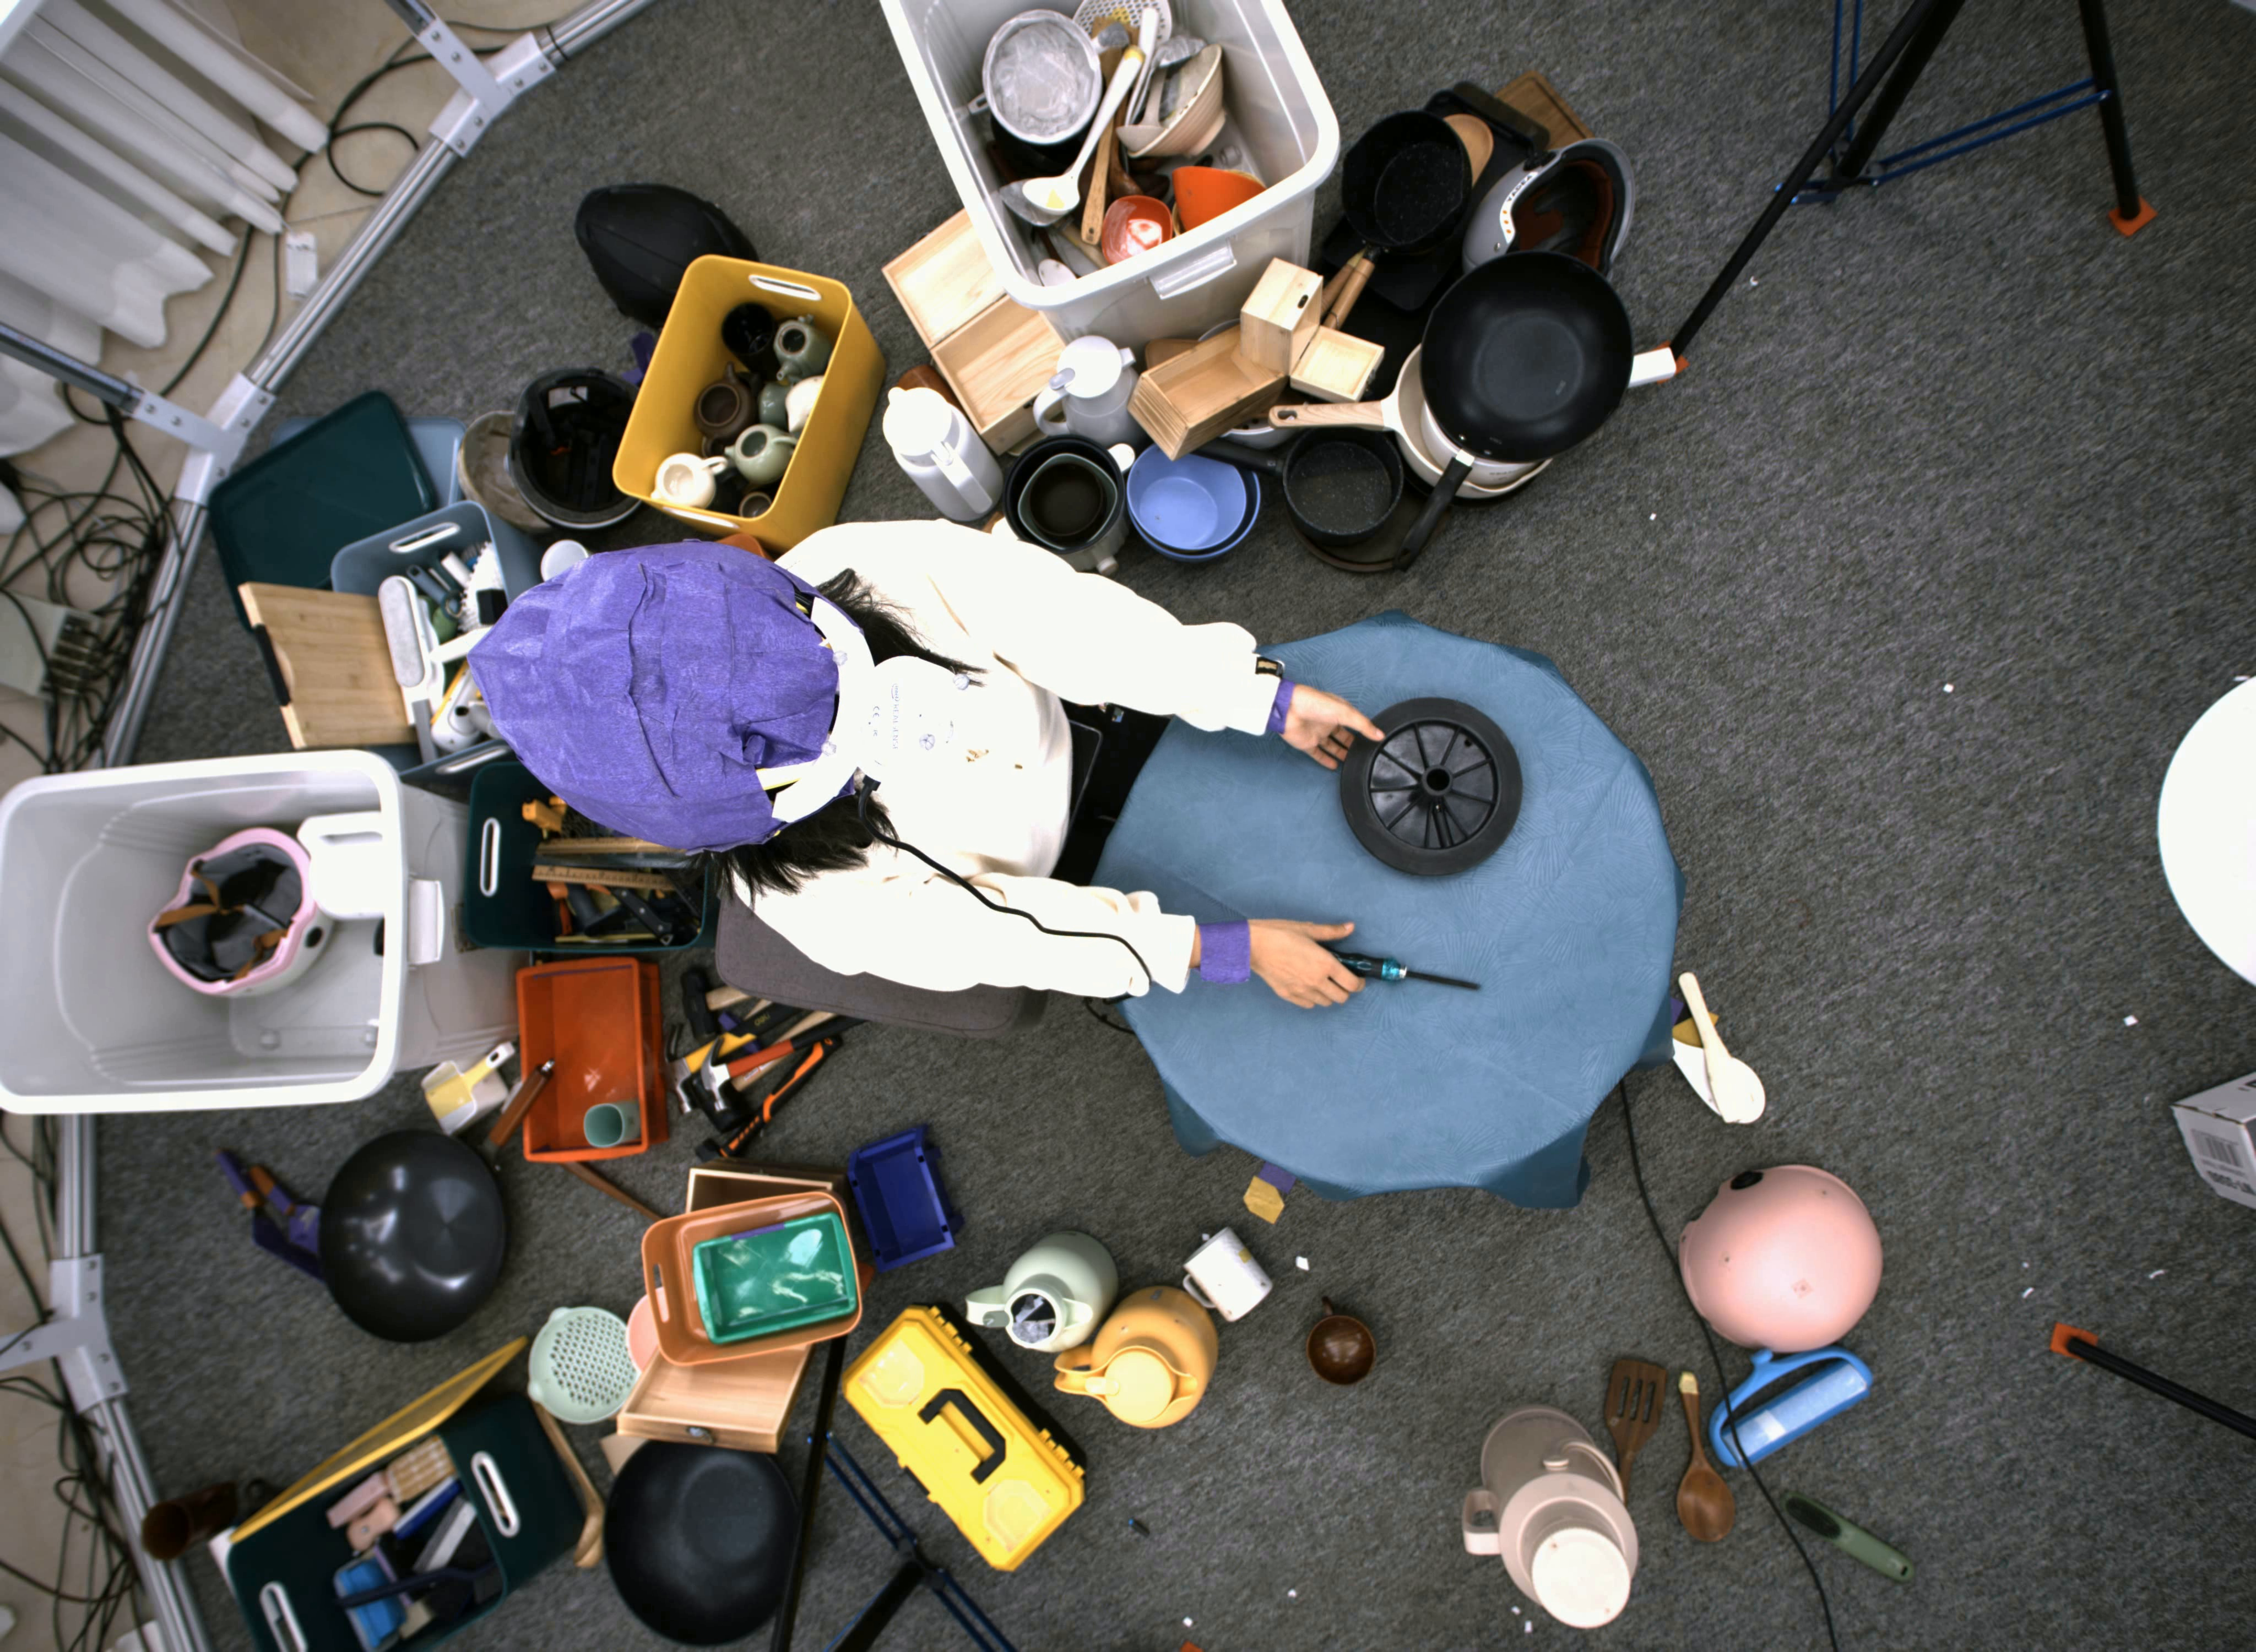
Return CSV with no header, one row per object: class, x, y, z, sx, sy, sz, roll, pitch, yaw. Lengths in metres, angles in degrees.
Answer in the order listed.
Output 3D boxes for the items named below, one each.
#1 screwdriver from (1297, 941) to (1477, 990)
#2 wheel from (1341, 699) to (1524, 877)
screwdriver,0.271,0.149,1.444,0.190,0.034,0.033,11,87,5
wheel,0.316,-0.043,1.419,0.188,0.079,0.189,-38,86,4
